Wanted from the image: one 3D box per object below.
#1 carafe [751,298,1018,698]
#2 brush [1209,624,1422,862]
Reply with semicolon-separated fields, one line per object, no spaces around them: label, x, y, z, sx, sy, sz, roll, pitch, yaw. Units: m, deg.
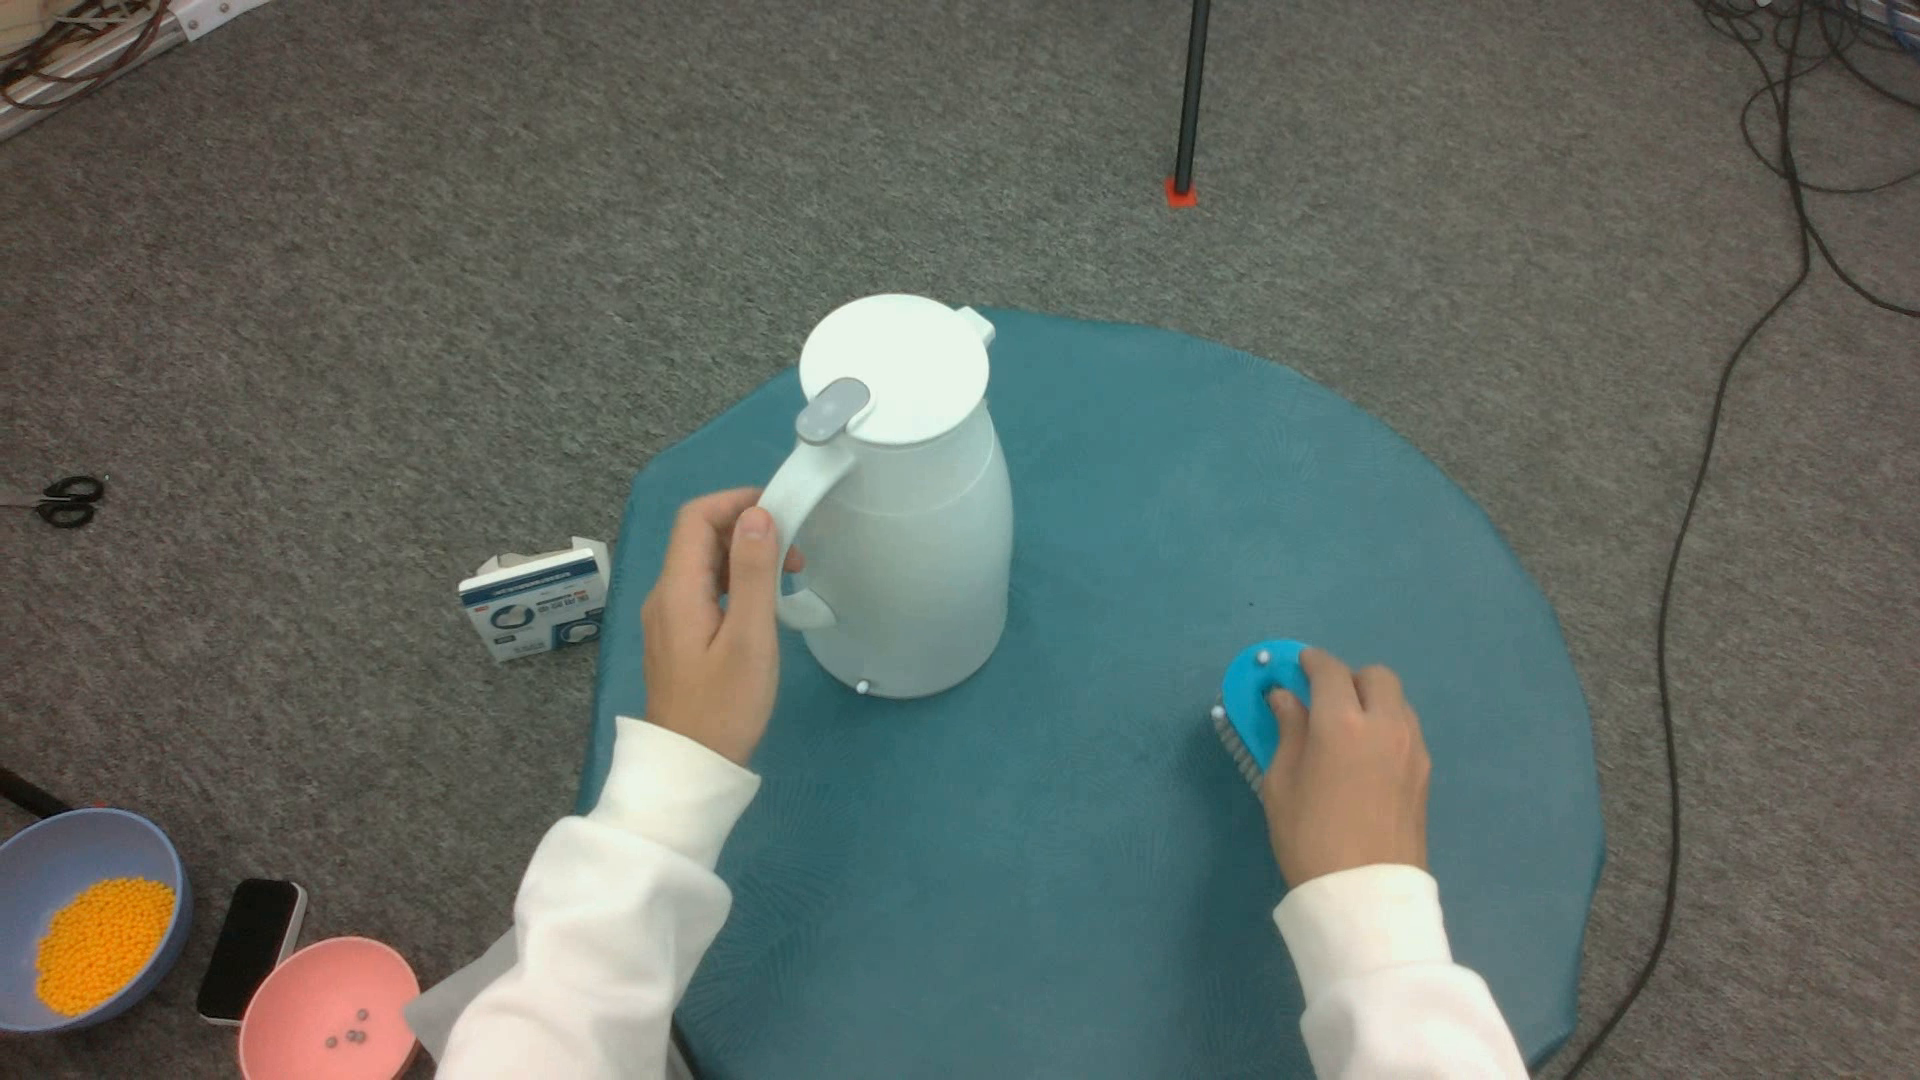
carafe;-0.043;-0.010;0.764;0.132;0.247;0.168;37;66;20
brush;0.201;0.104;0.767;0.084;0.063;0.142;-21;62;-13
